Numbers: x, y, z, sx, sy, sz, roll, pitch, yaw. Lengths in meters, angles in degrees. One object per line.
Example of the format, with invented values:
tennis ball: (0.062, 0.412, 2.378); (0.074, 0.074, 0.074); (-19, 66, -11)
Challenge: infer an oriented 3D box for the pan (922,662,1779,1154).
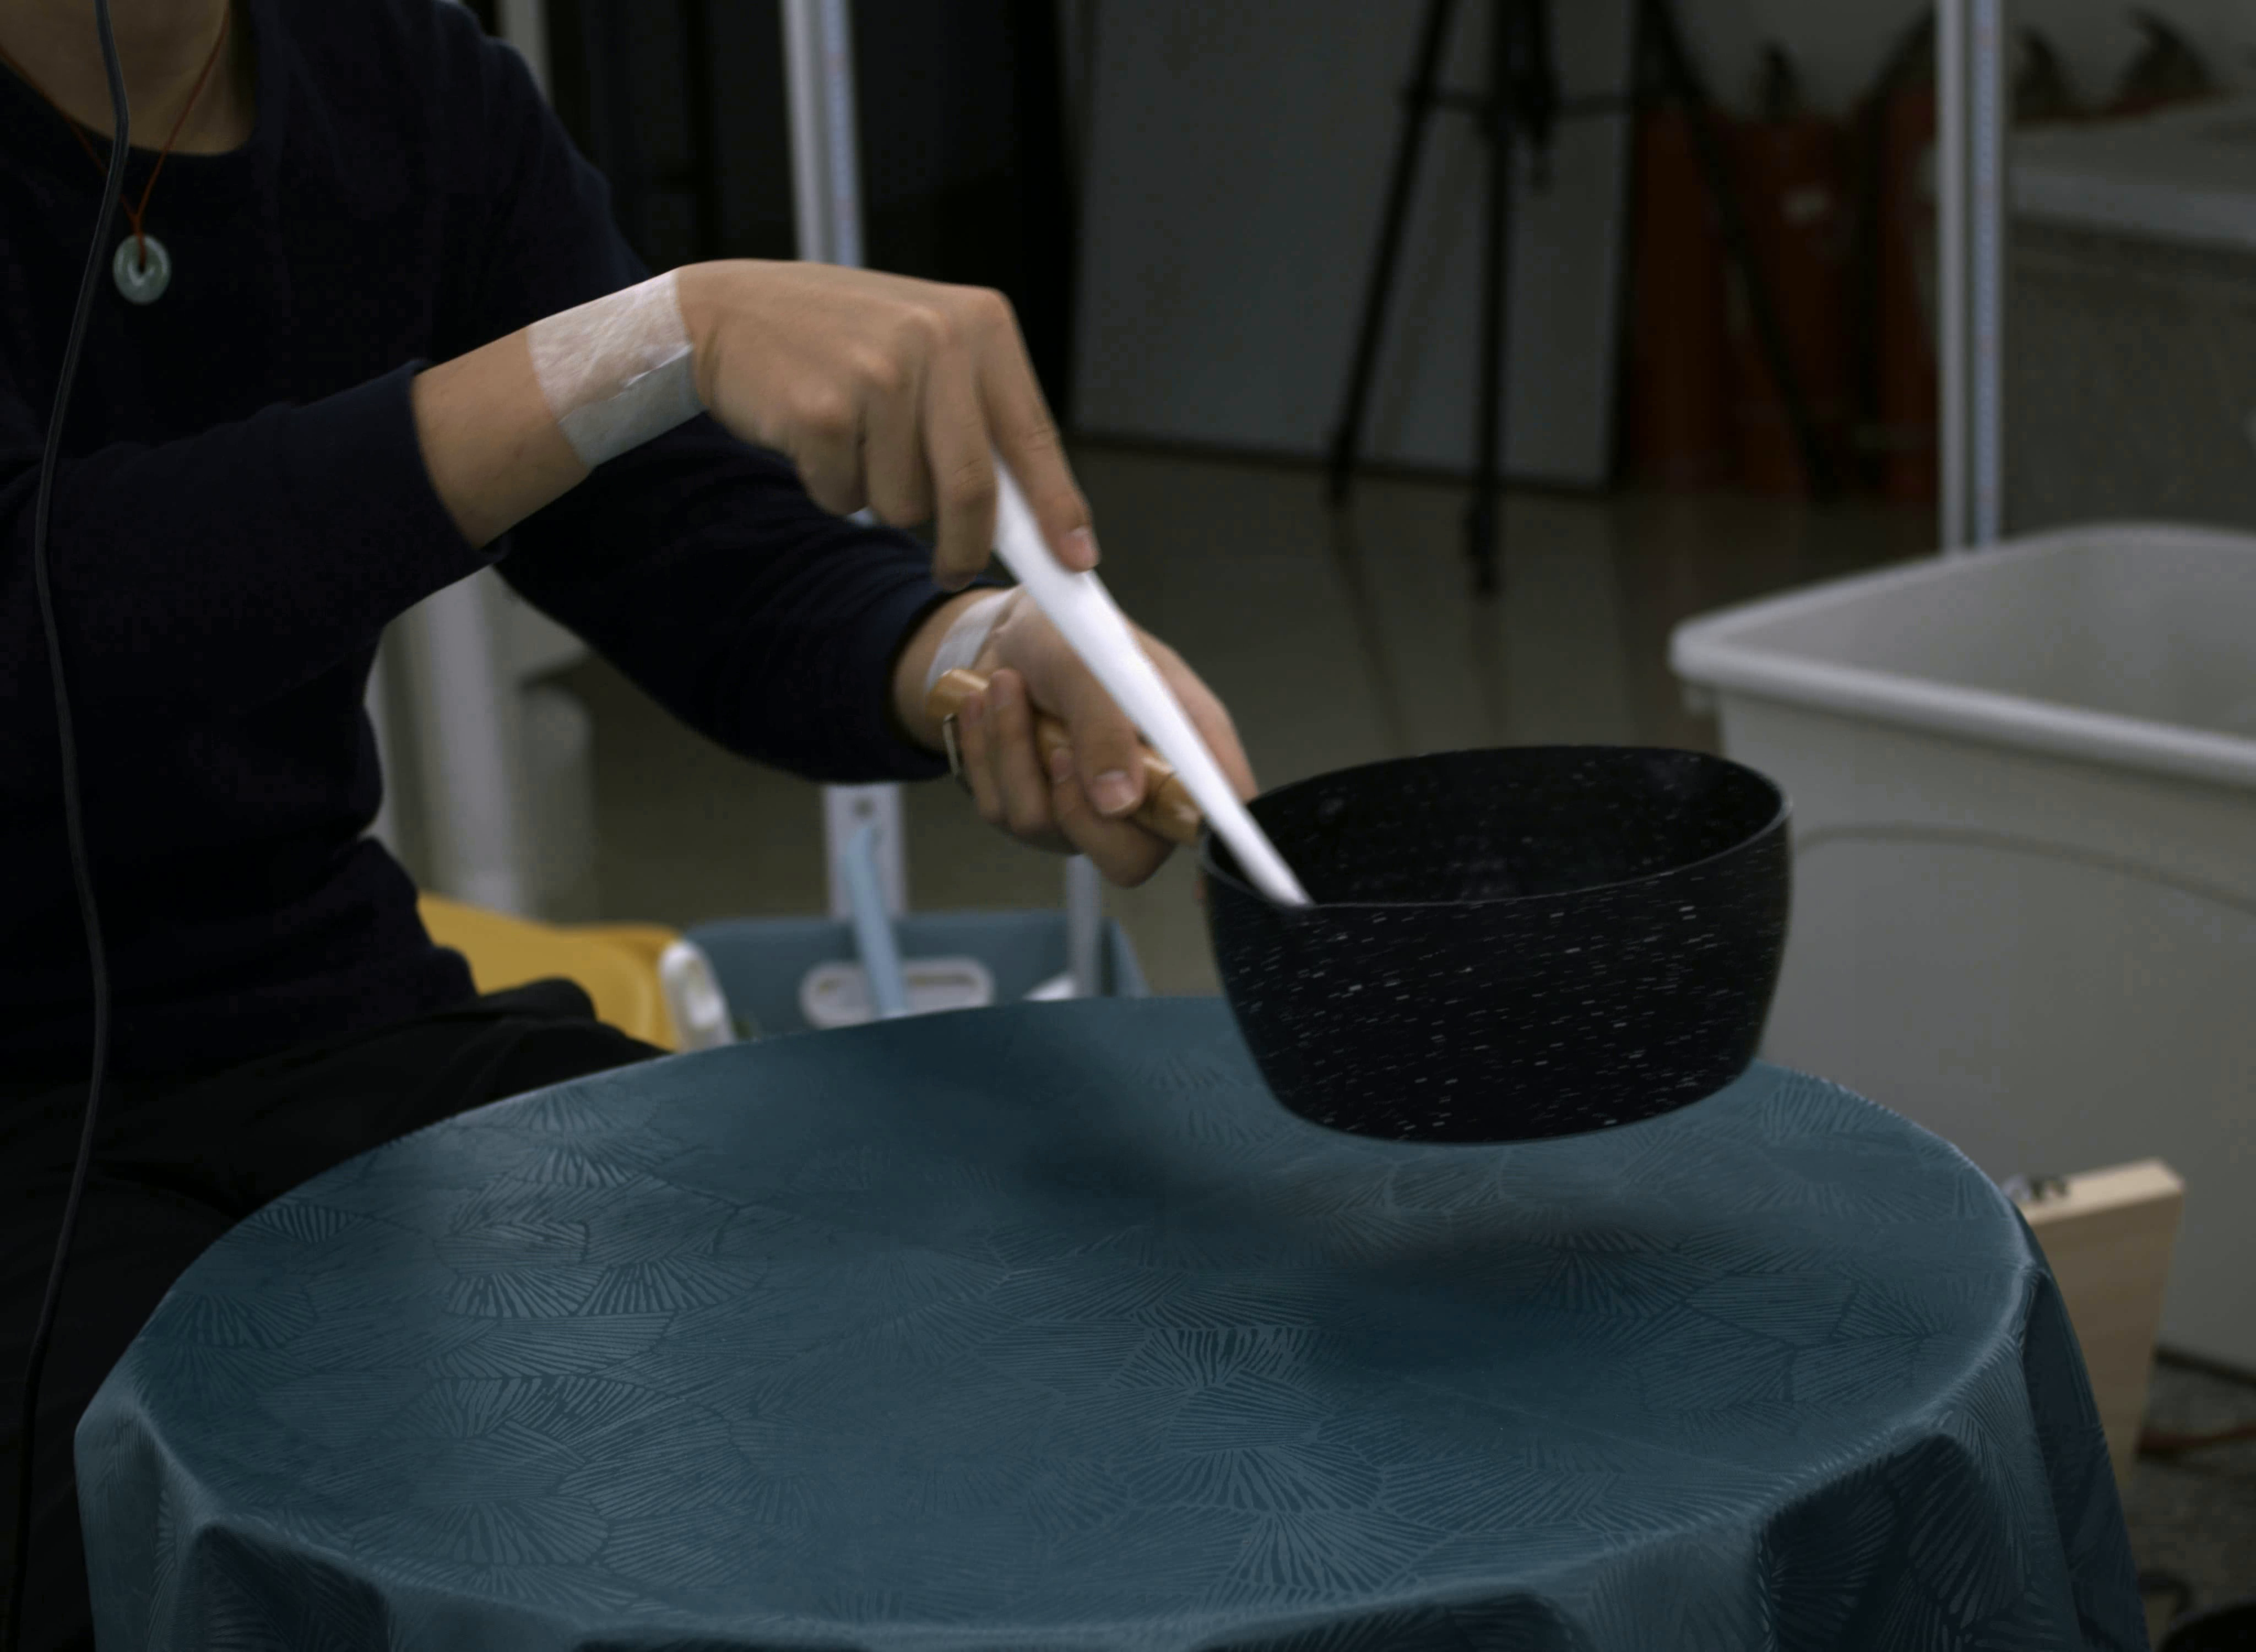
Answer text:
pan: (0.055, 0.018, 1.723); (0.203, 0.109, 0.346); (-20, 20, -41)

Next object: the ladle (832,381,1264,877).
ladle: (0.021, -0.033, 1.678); (0.070, 0.295, 0.089); (-47, -12, 34)
